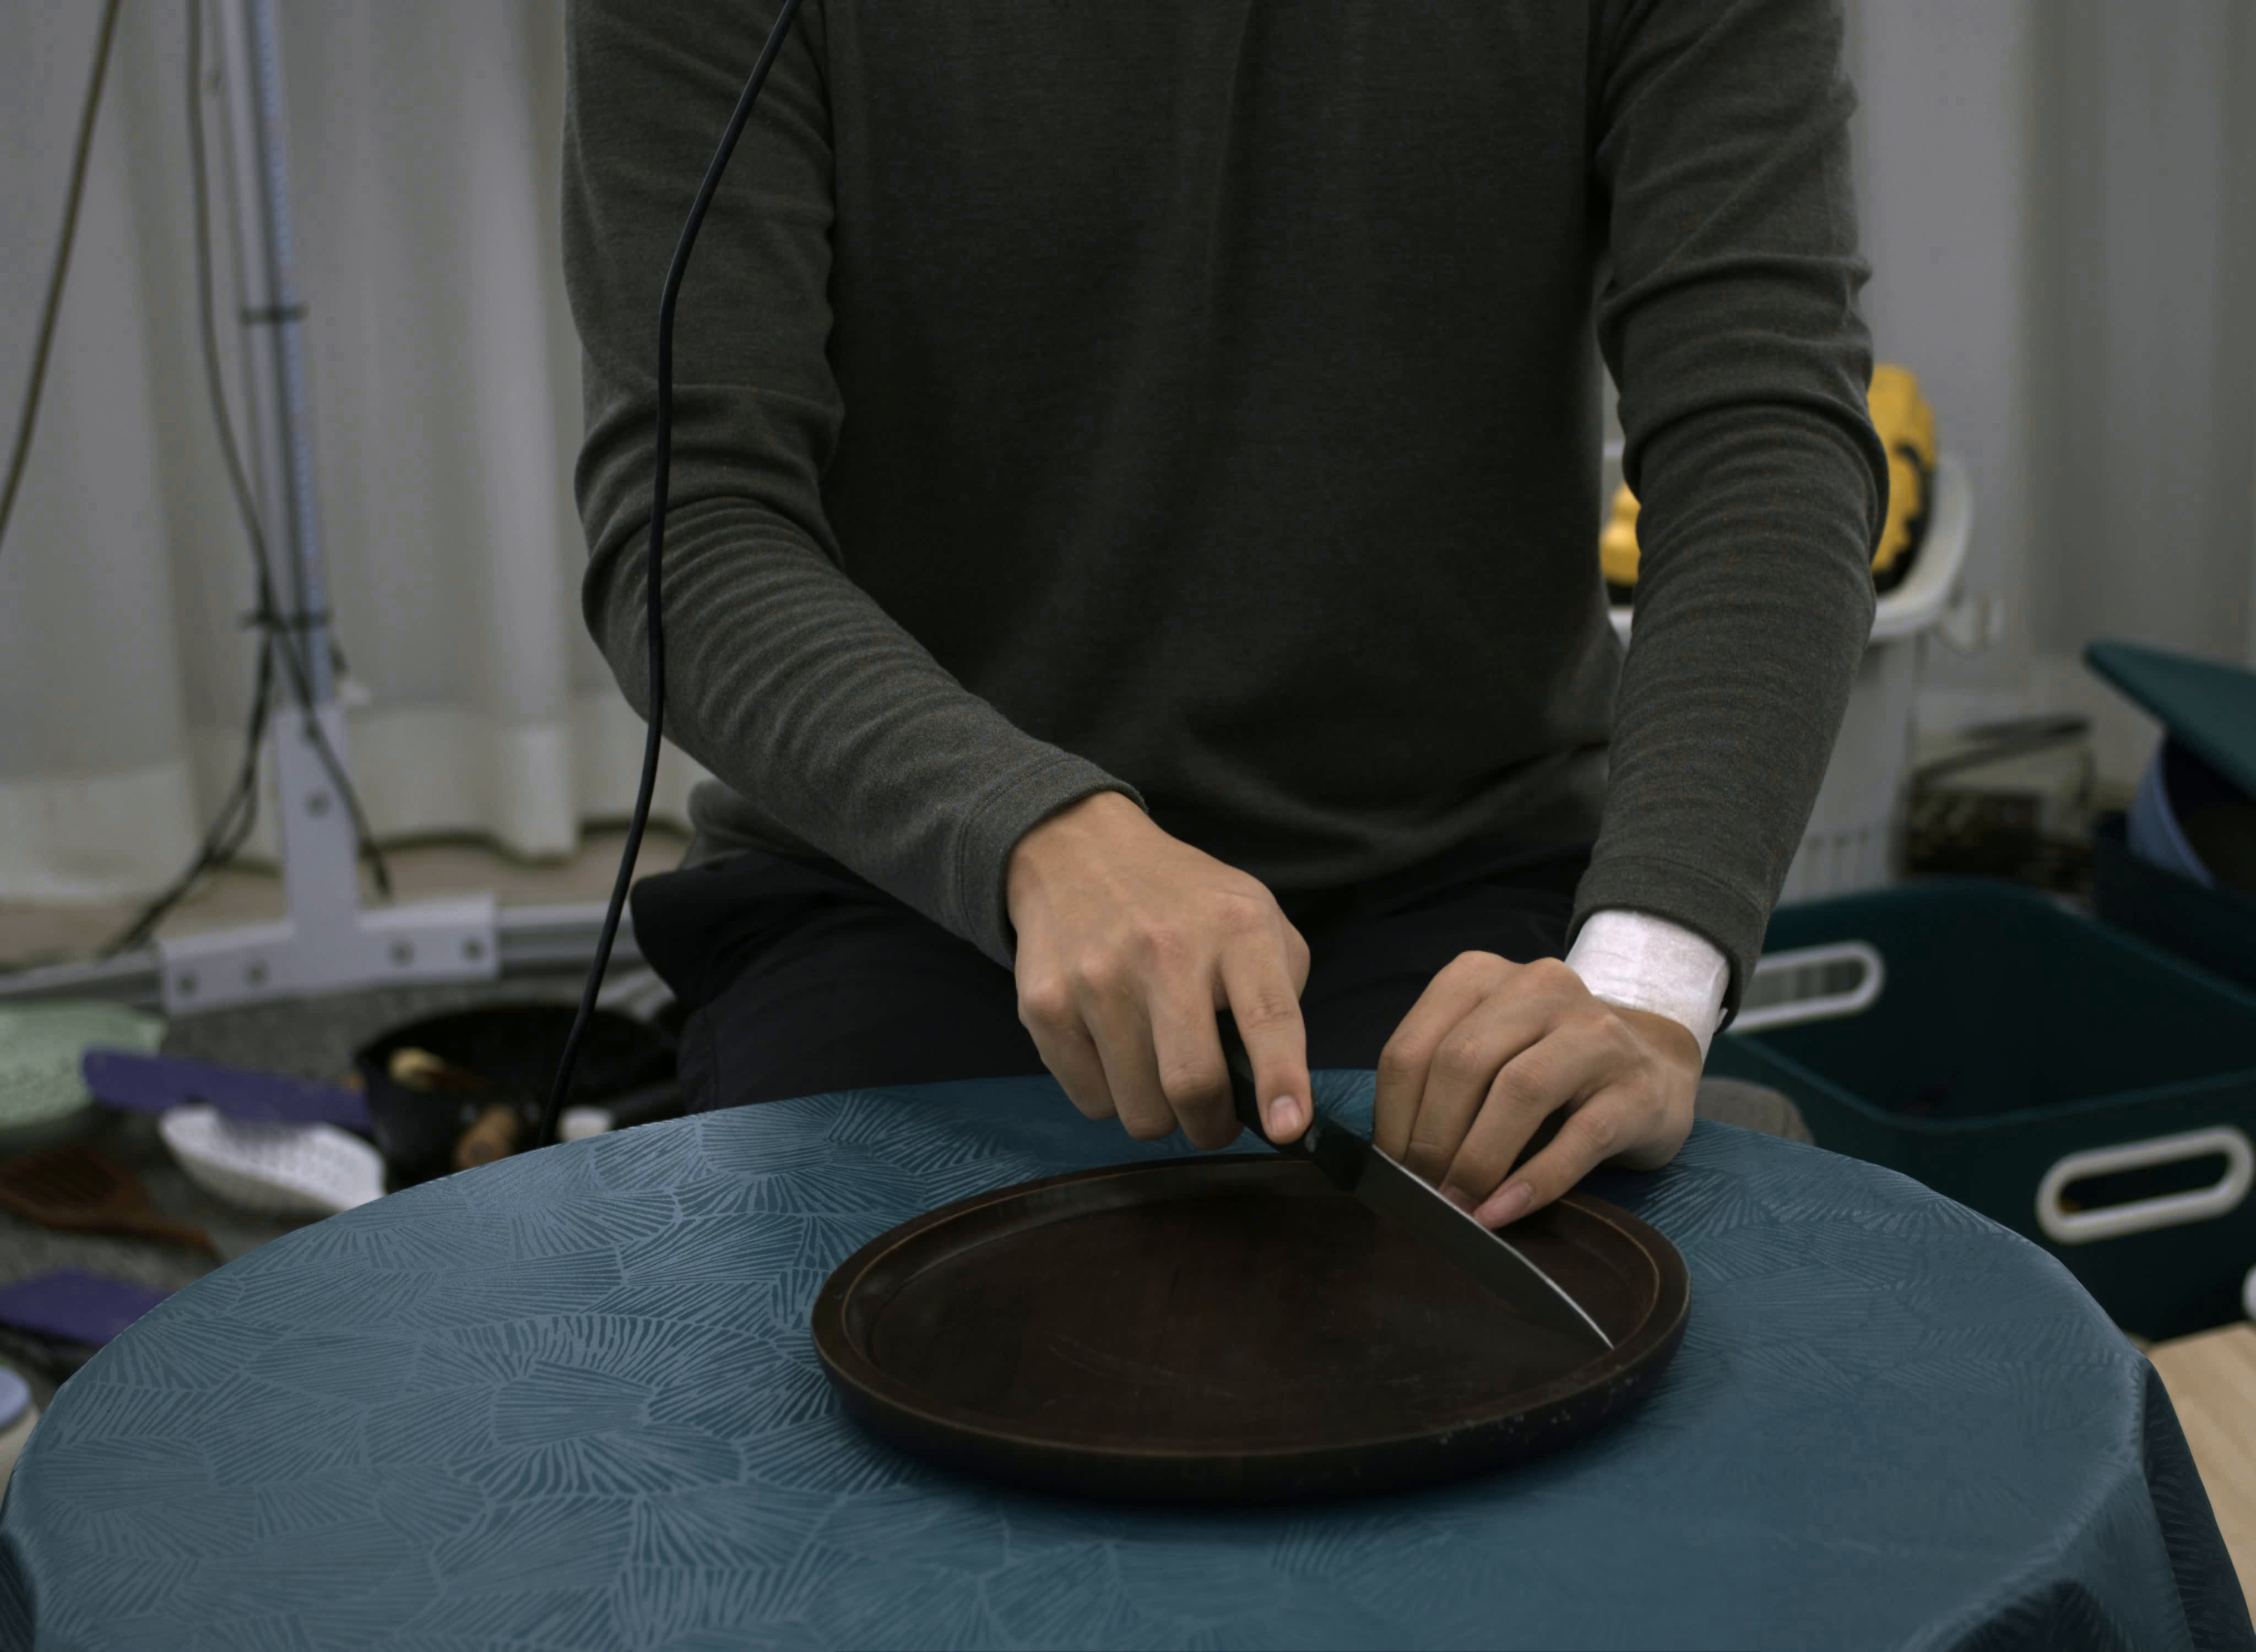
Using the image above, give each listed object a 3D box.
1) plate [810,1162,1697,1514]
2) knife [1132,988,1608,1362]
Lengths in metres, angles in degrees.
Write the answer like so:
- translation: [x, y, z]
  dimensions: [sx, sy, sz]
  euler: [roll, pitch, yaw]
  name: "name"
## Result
- translation: [0.036, 0.143, 1.561]
  dimensions: [0.254, 0.029, 0.256]
  euler: [-2, 16, 0]
  name: "plate"
- translation: [0.071, 0.101, 1.606]
  dimensions: [0.016, 0.024, 0.241]
  euler: [-7, 26, -33]
  name: "knife"
